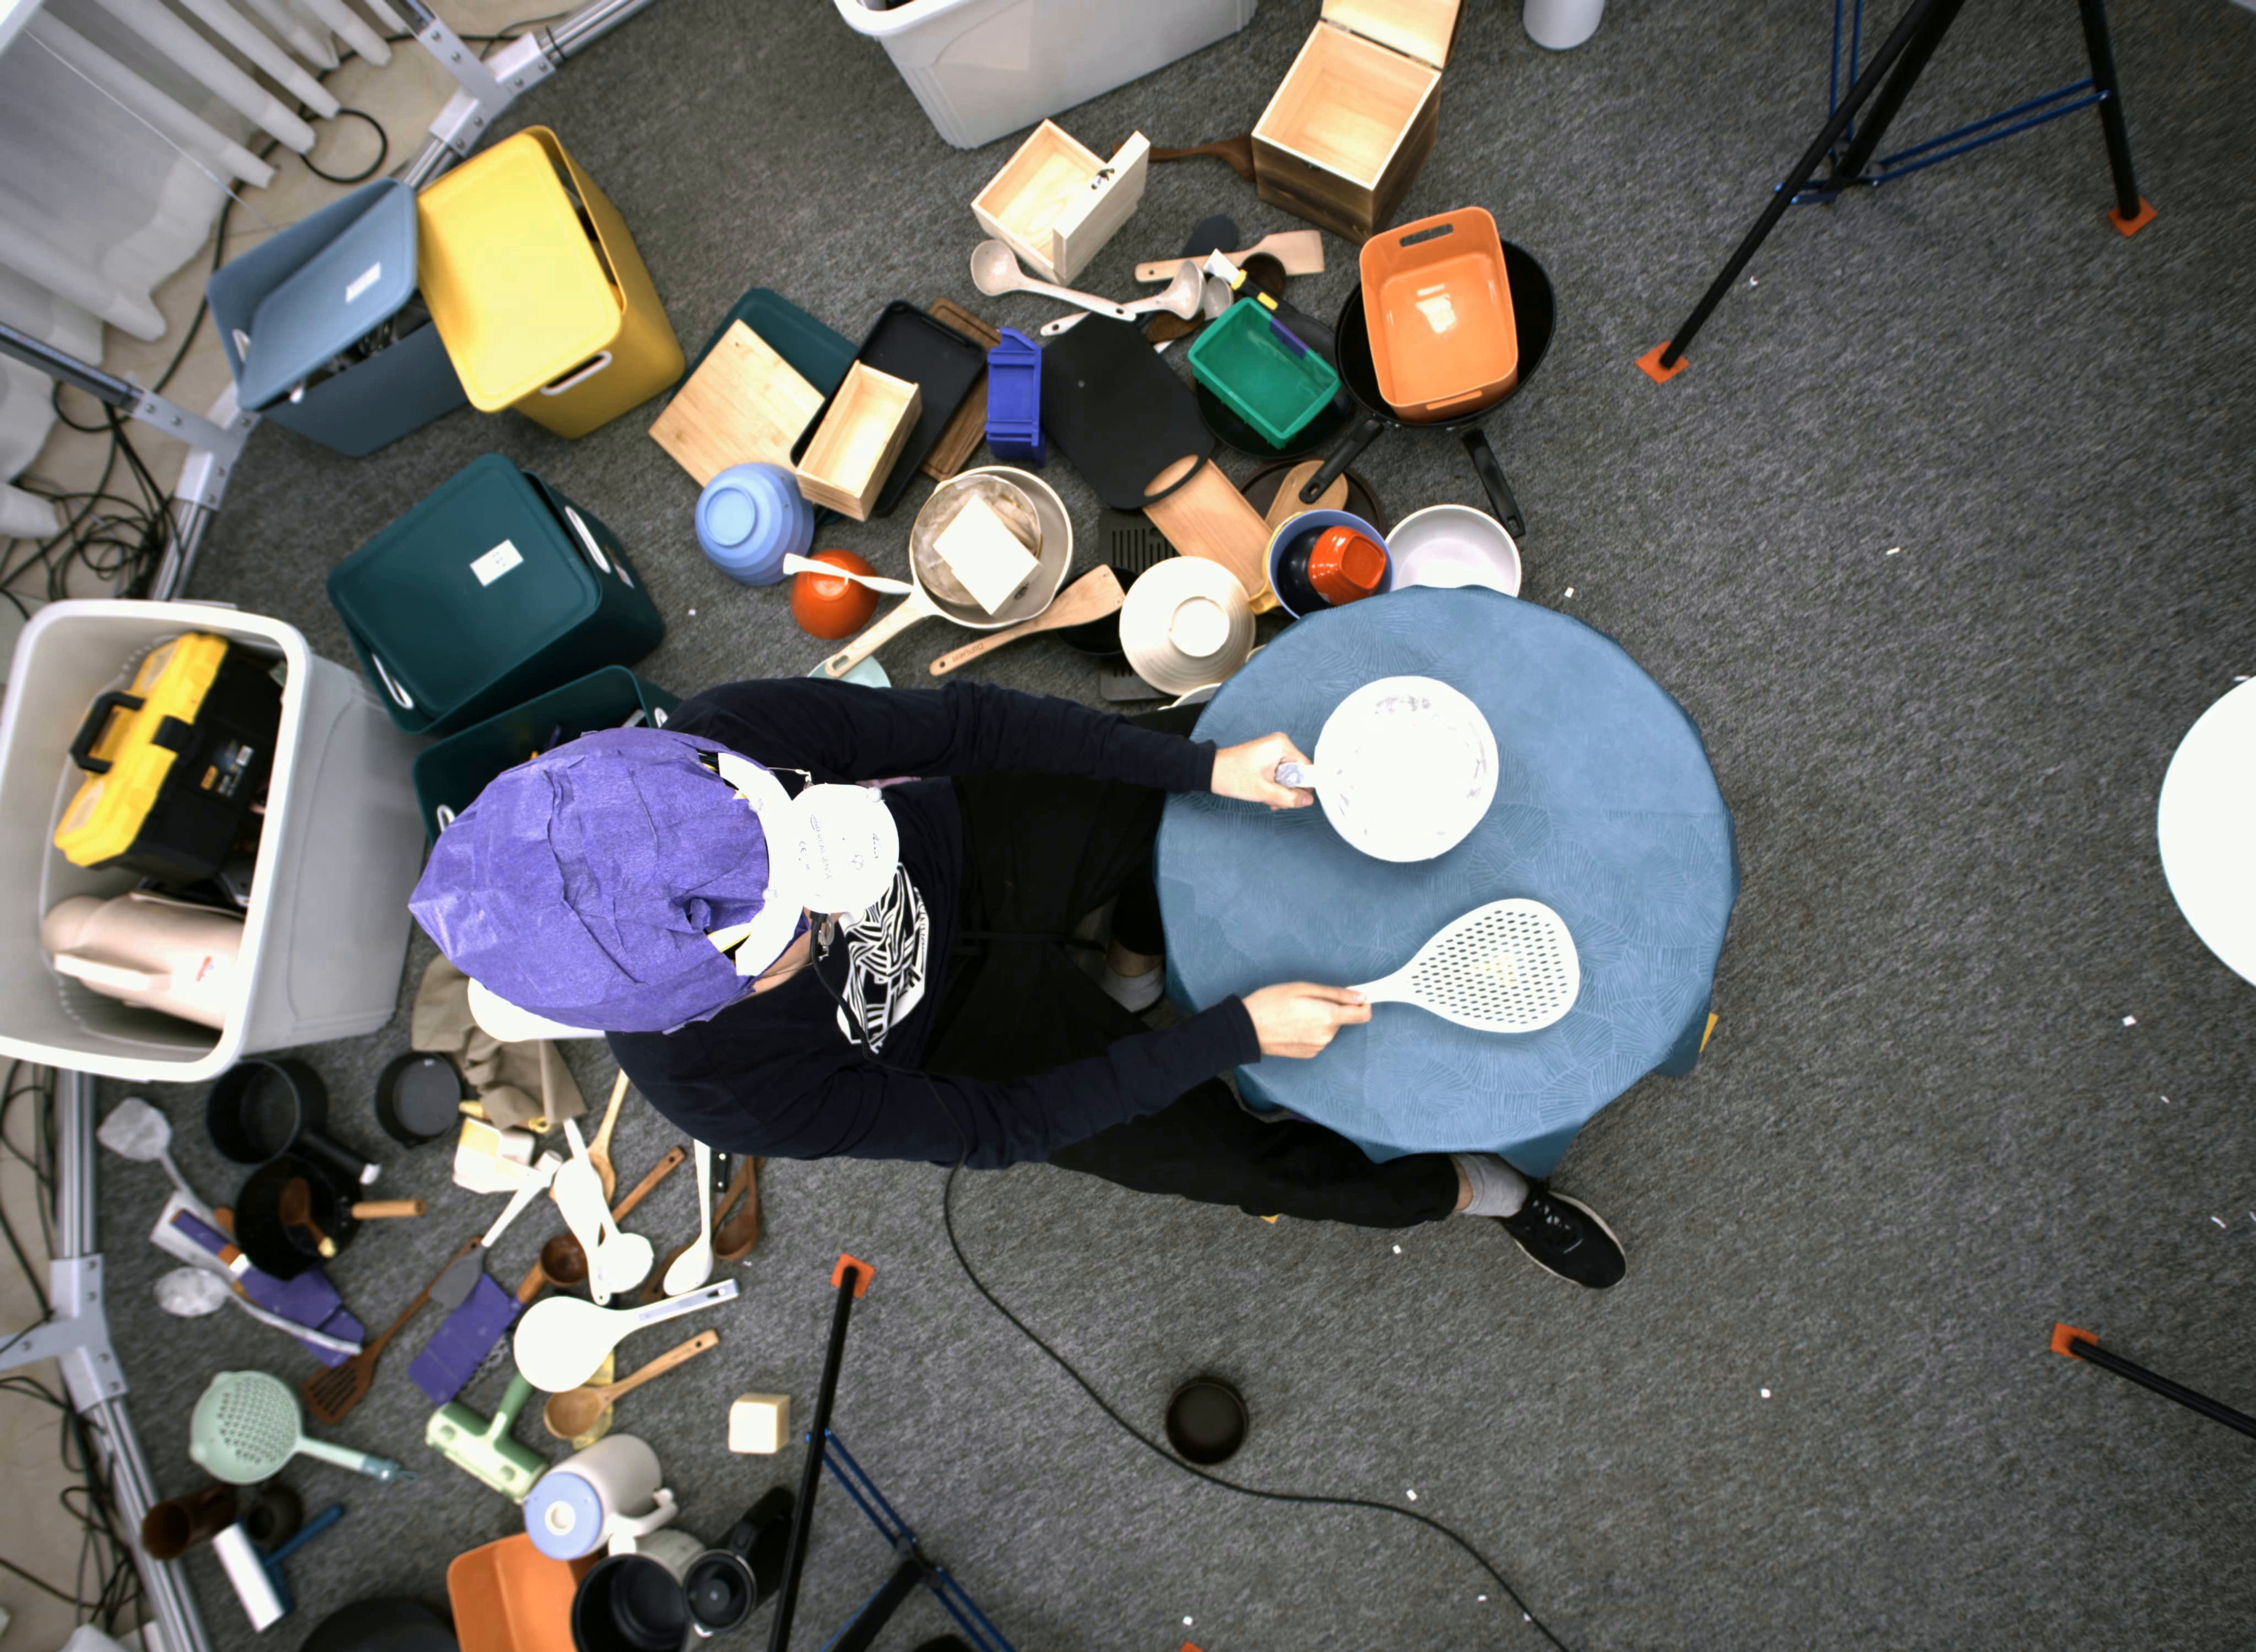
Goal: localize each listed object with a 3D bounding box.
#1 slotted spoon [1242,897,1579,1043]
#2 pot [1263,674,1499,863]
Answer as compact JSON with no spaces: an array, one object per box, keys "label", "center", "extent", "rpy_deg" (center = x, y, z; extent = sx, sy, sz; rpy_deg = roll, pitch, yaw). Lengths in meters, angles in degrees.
[{"label":"slotted spoon","center":[0.285,0.168,1.423],"extent":[0.349,0.050,0.135],"rpy_deg":[-14,78,6]},{"label":"pot","center":[0.252,-0.052,1.399],"extent":[0.235,0.137,0.178],"rpy_deg":[-5,85,10]}]
